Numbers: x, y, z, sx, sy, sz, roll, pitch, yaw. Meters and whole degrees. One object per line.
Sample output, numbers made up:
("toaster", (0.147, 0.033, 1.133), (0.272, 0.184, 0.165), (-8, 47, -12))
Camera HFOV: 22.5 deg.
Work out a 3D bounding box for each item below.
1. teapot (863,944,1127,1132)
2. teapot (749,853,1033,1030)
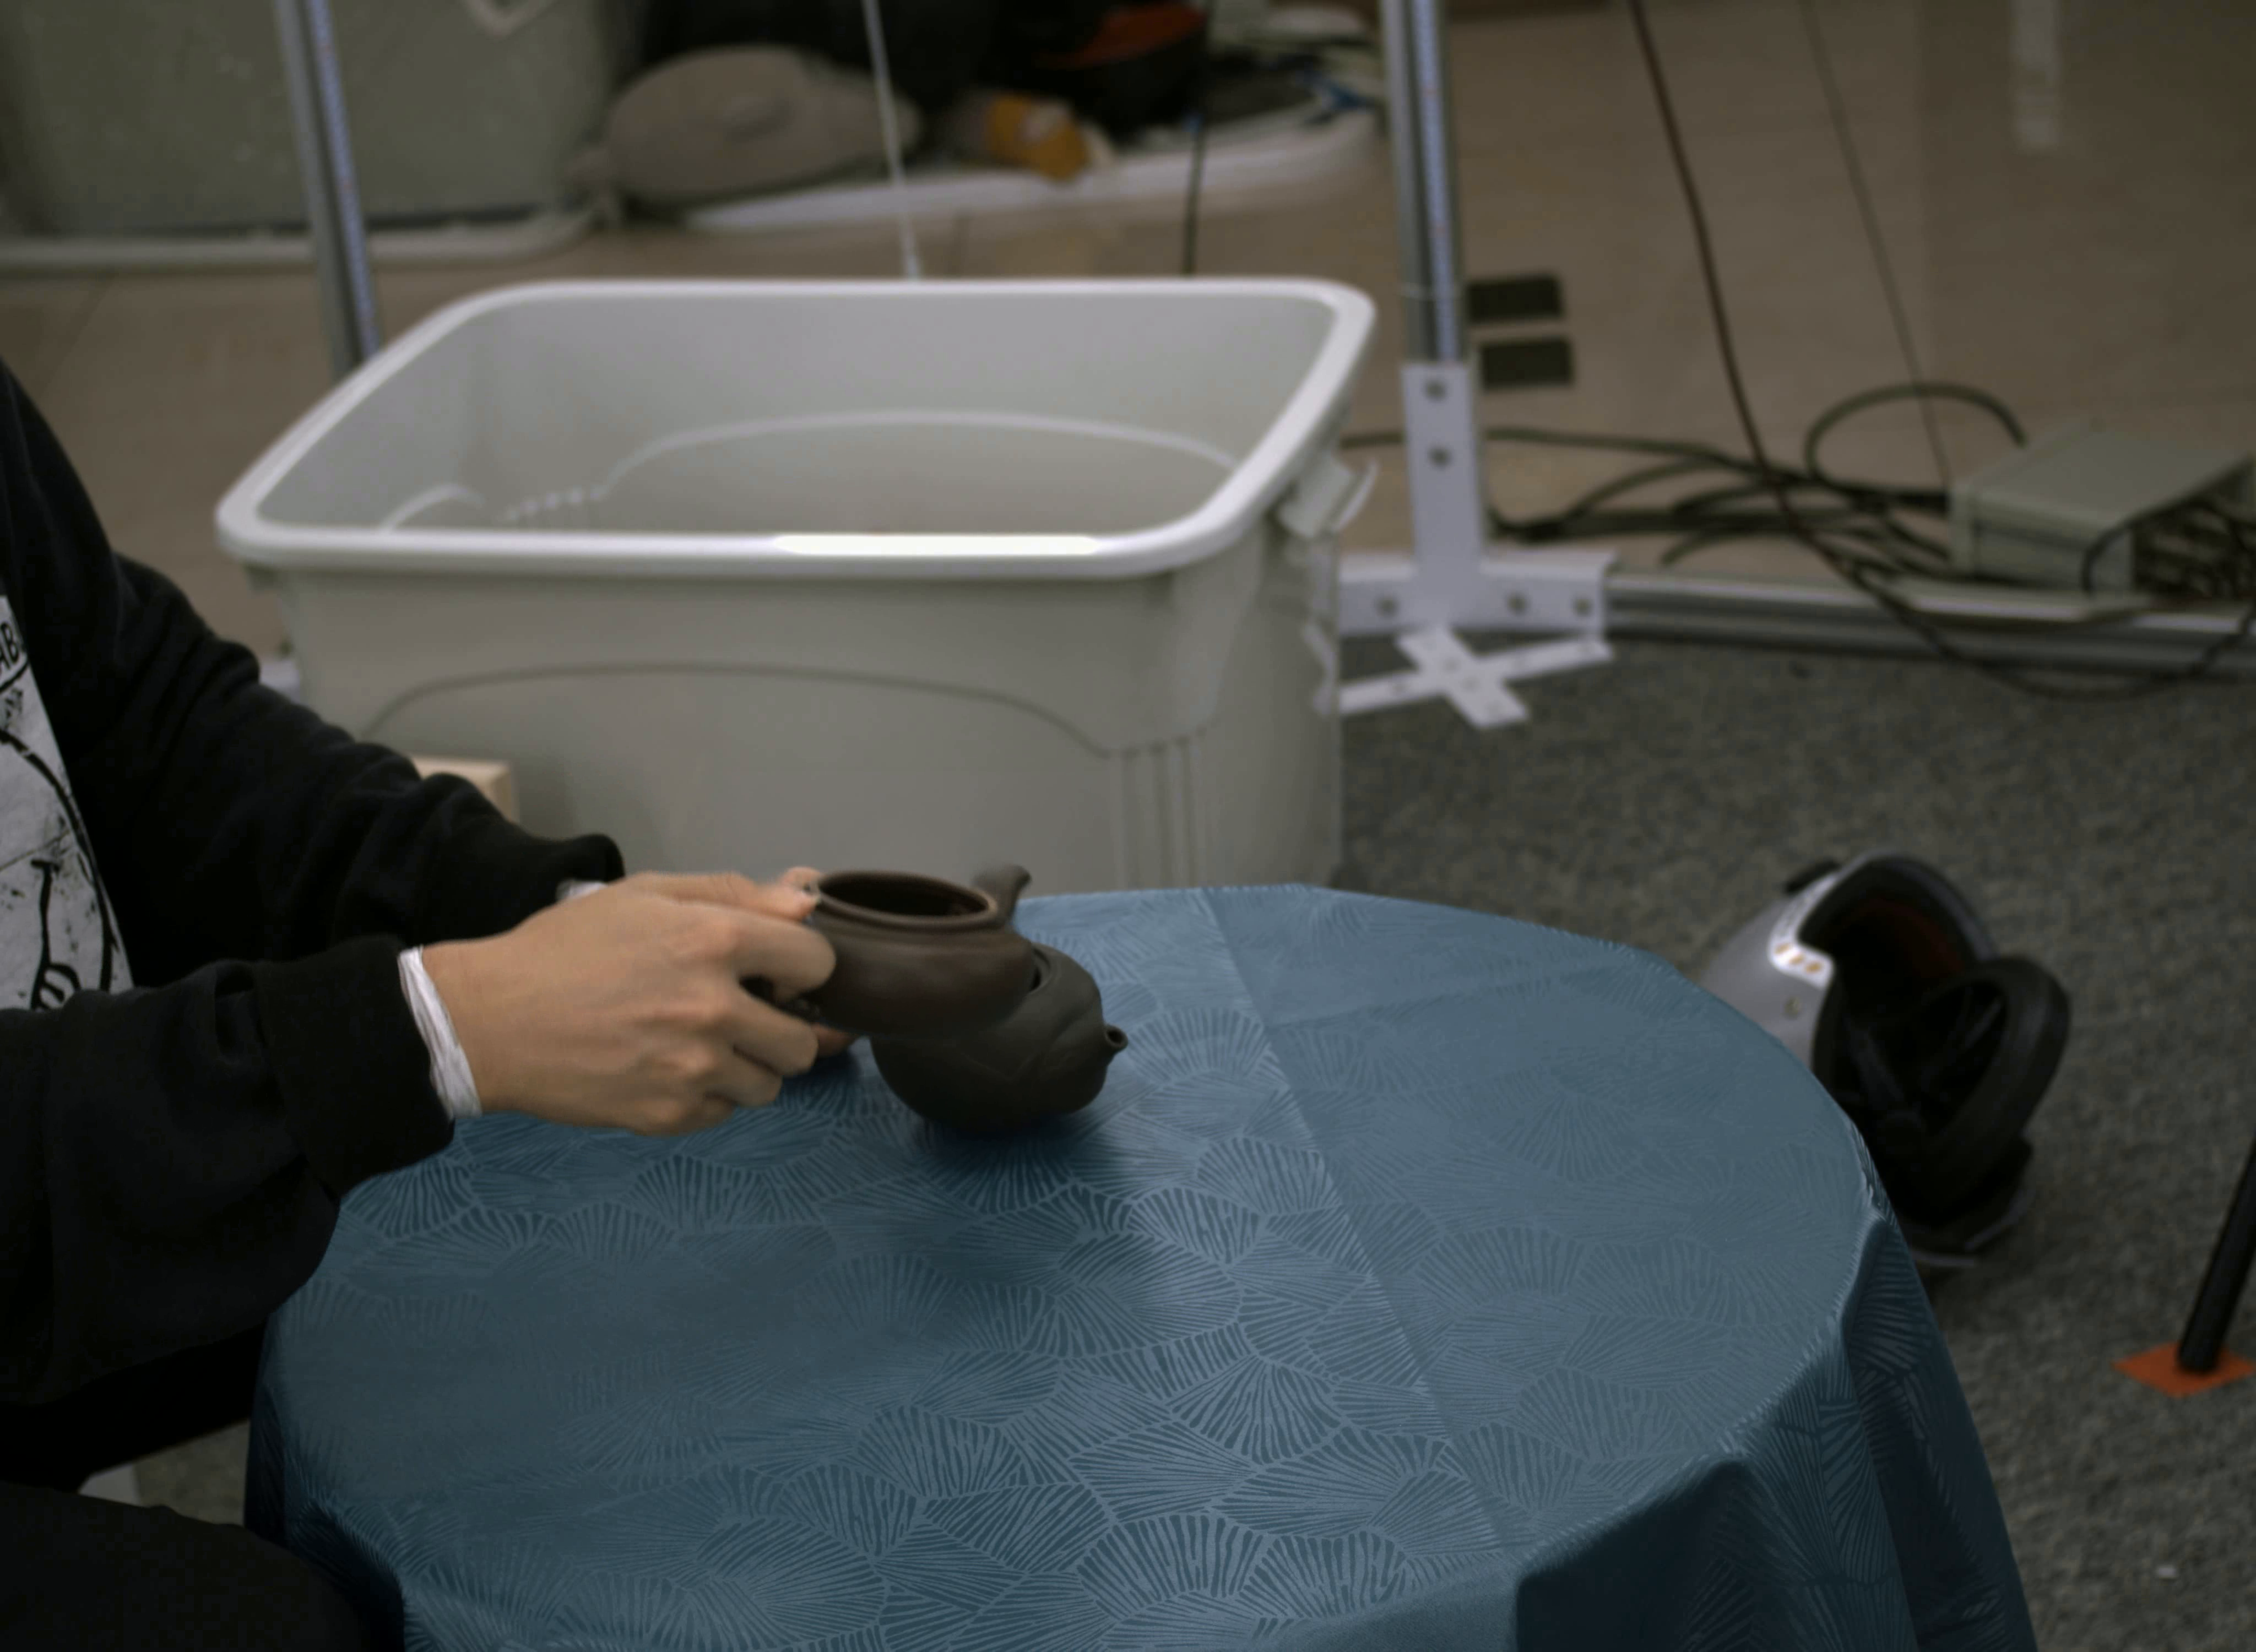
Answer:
("teapot", (-0.057, 0.080, 2.211), (0.153, 0.065, 0.091), (21, 32, 39))
("teapot", (-0.088, 0.043, 2.063), (0.102, 0.054, 0.153), (12, 12, 29))
